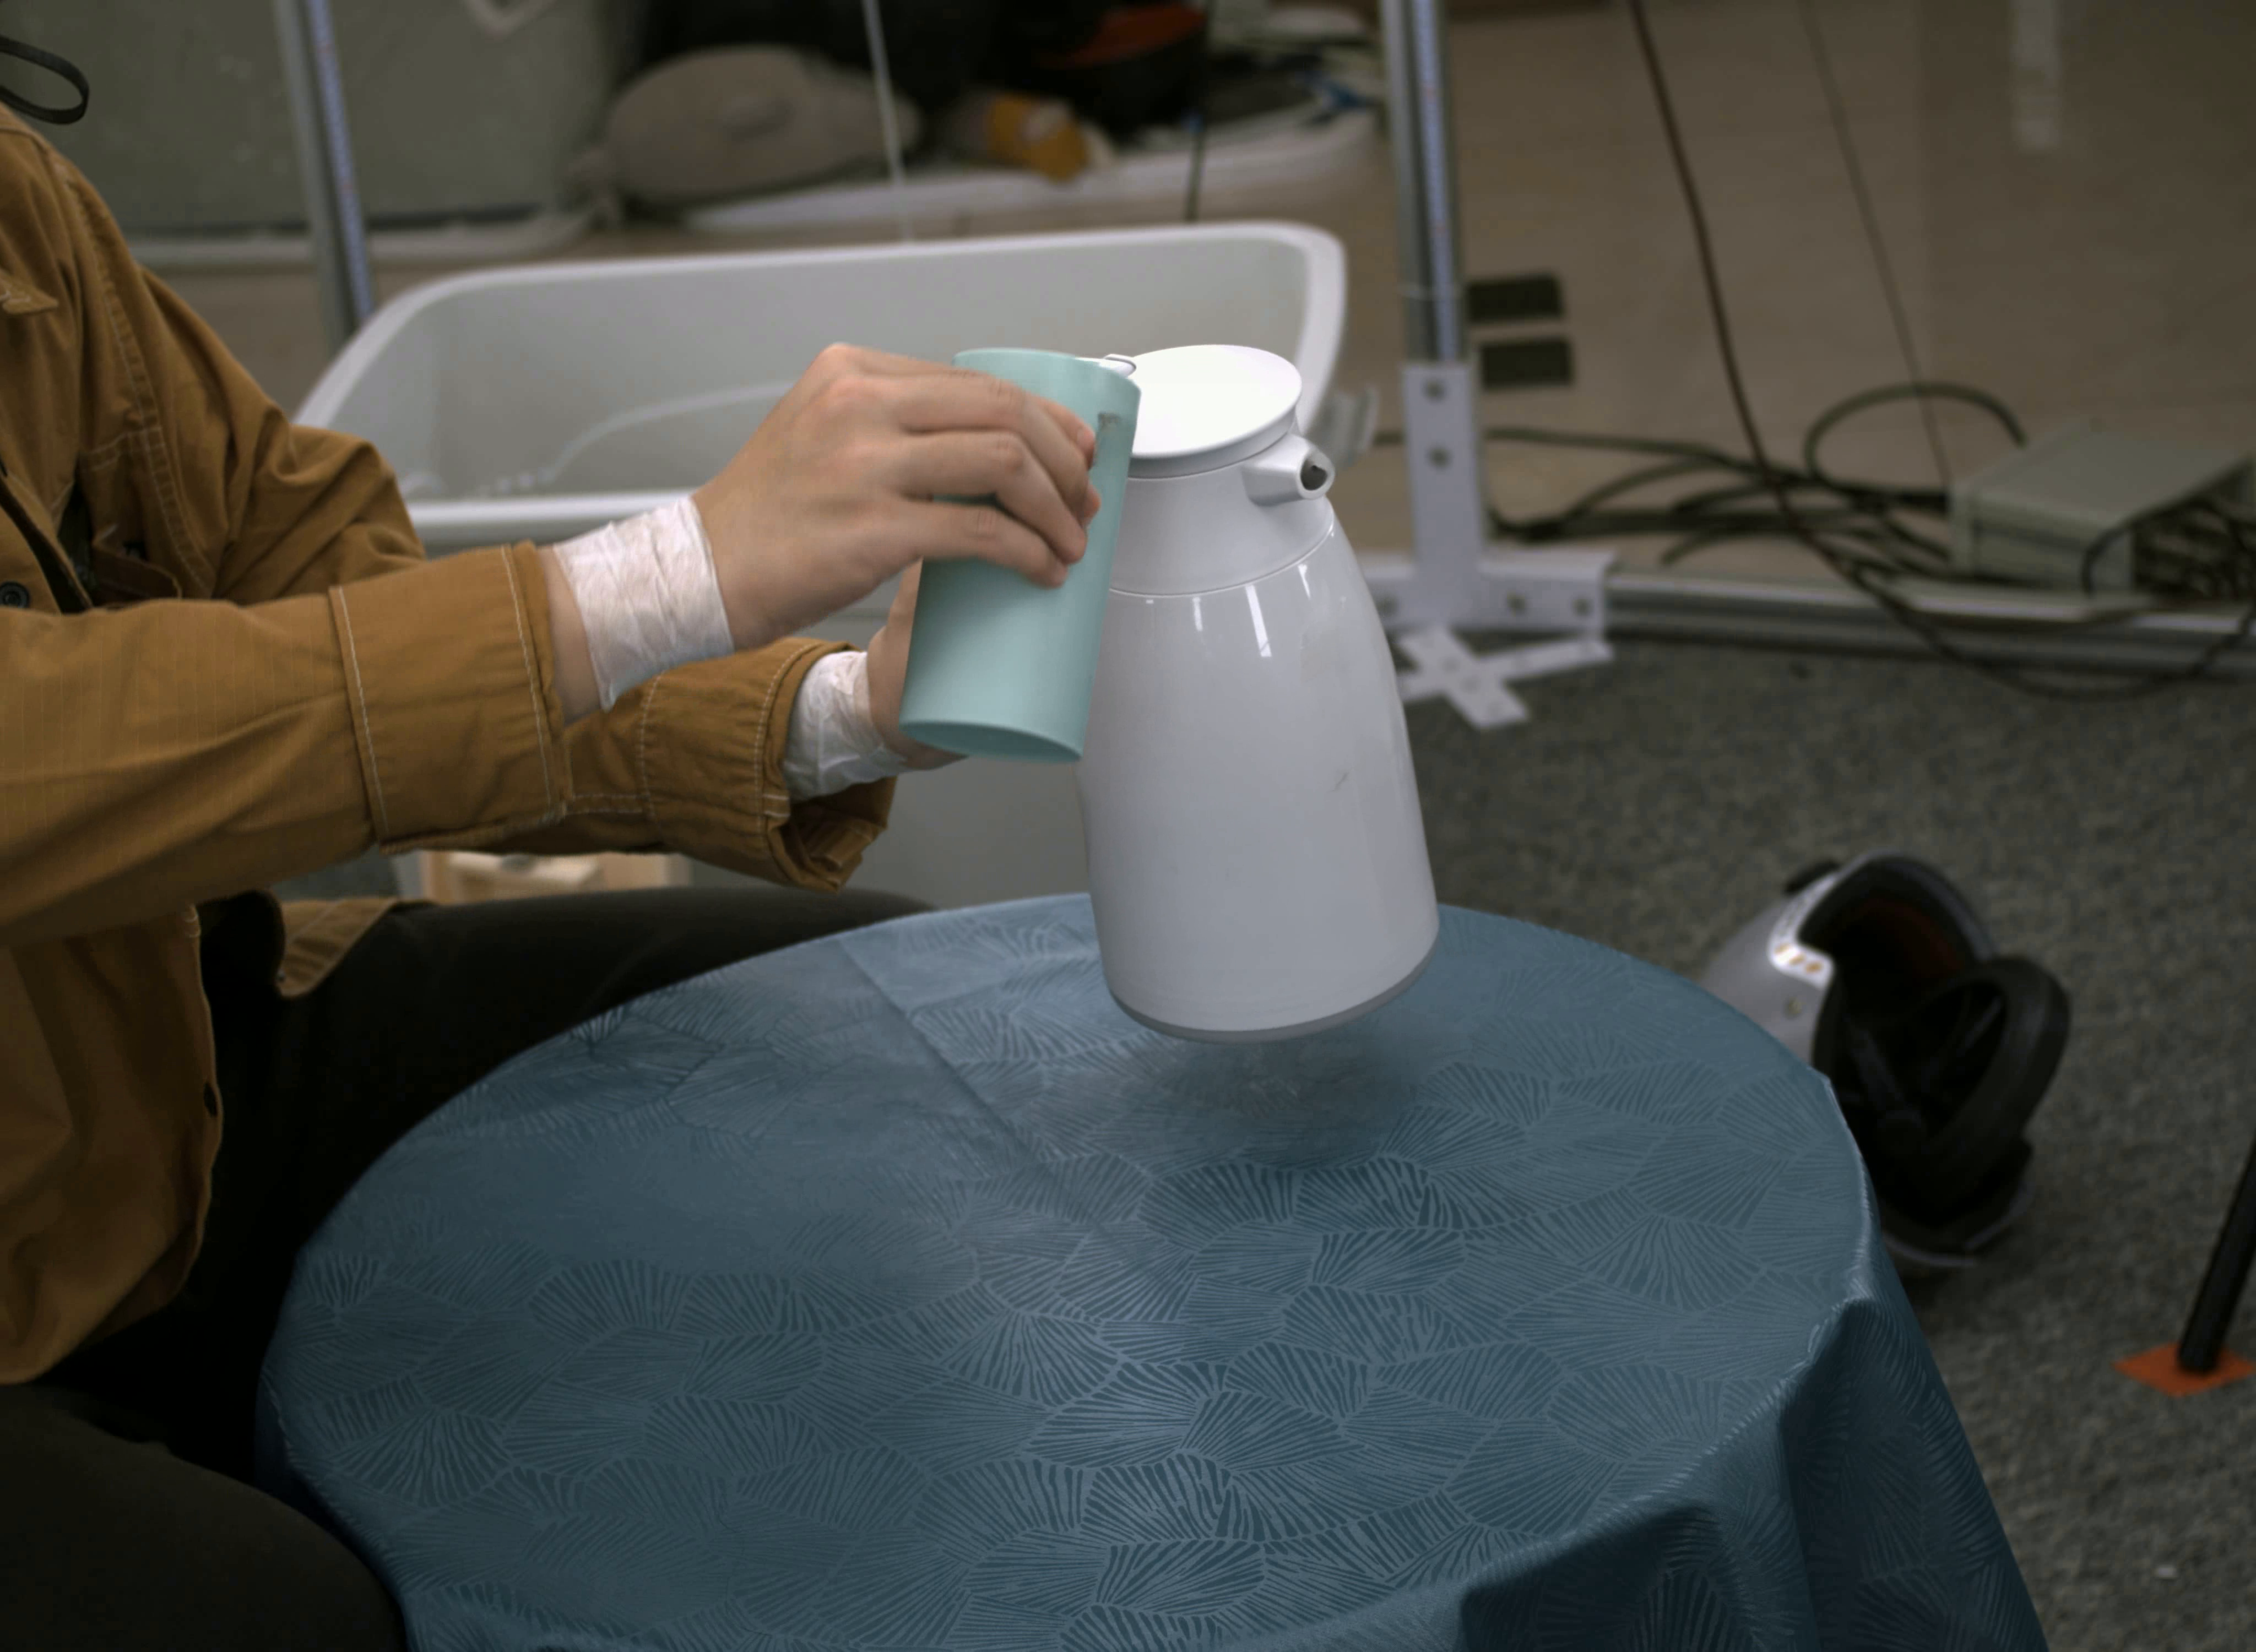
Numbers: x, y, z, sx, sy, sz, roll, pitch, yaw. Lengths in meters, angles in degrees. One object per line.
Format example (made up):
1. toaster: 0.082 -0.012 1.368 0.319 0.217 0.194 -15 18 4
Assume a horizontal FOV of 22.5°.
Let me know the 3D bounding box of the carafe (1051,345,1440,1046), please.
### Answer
1. carafe: 0.022 -0.059 2.145 0.166 0.253 0.131 15 38 38

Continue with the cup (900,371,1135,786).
1. cup: -0.039 -0.085 1.935 0.066 0.132 0.067 7 -8 1
